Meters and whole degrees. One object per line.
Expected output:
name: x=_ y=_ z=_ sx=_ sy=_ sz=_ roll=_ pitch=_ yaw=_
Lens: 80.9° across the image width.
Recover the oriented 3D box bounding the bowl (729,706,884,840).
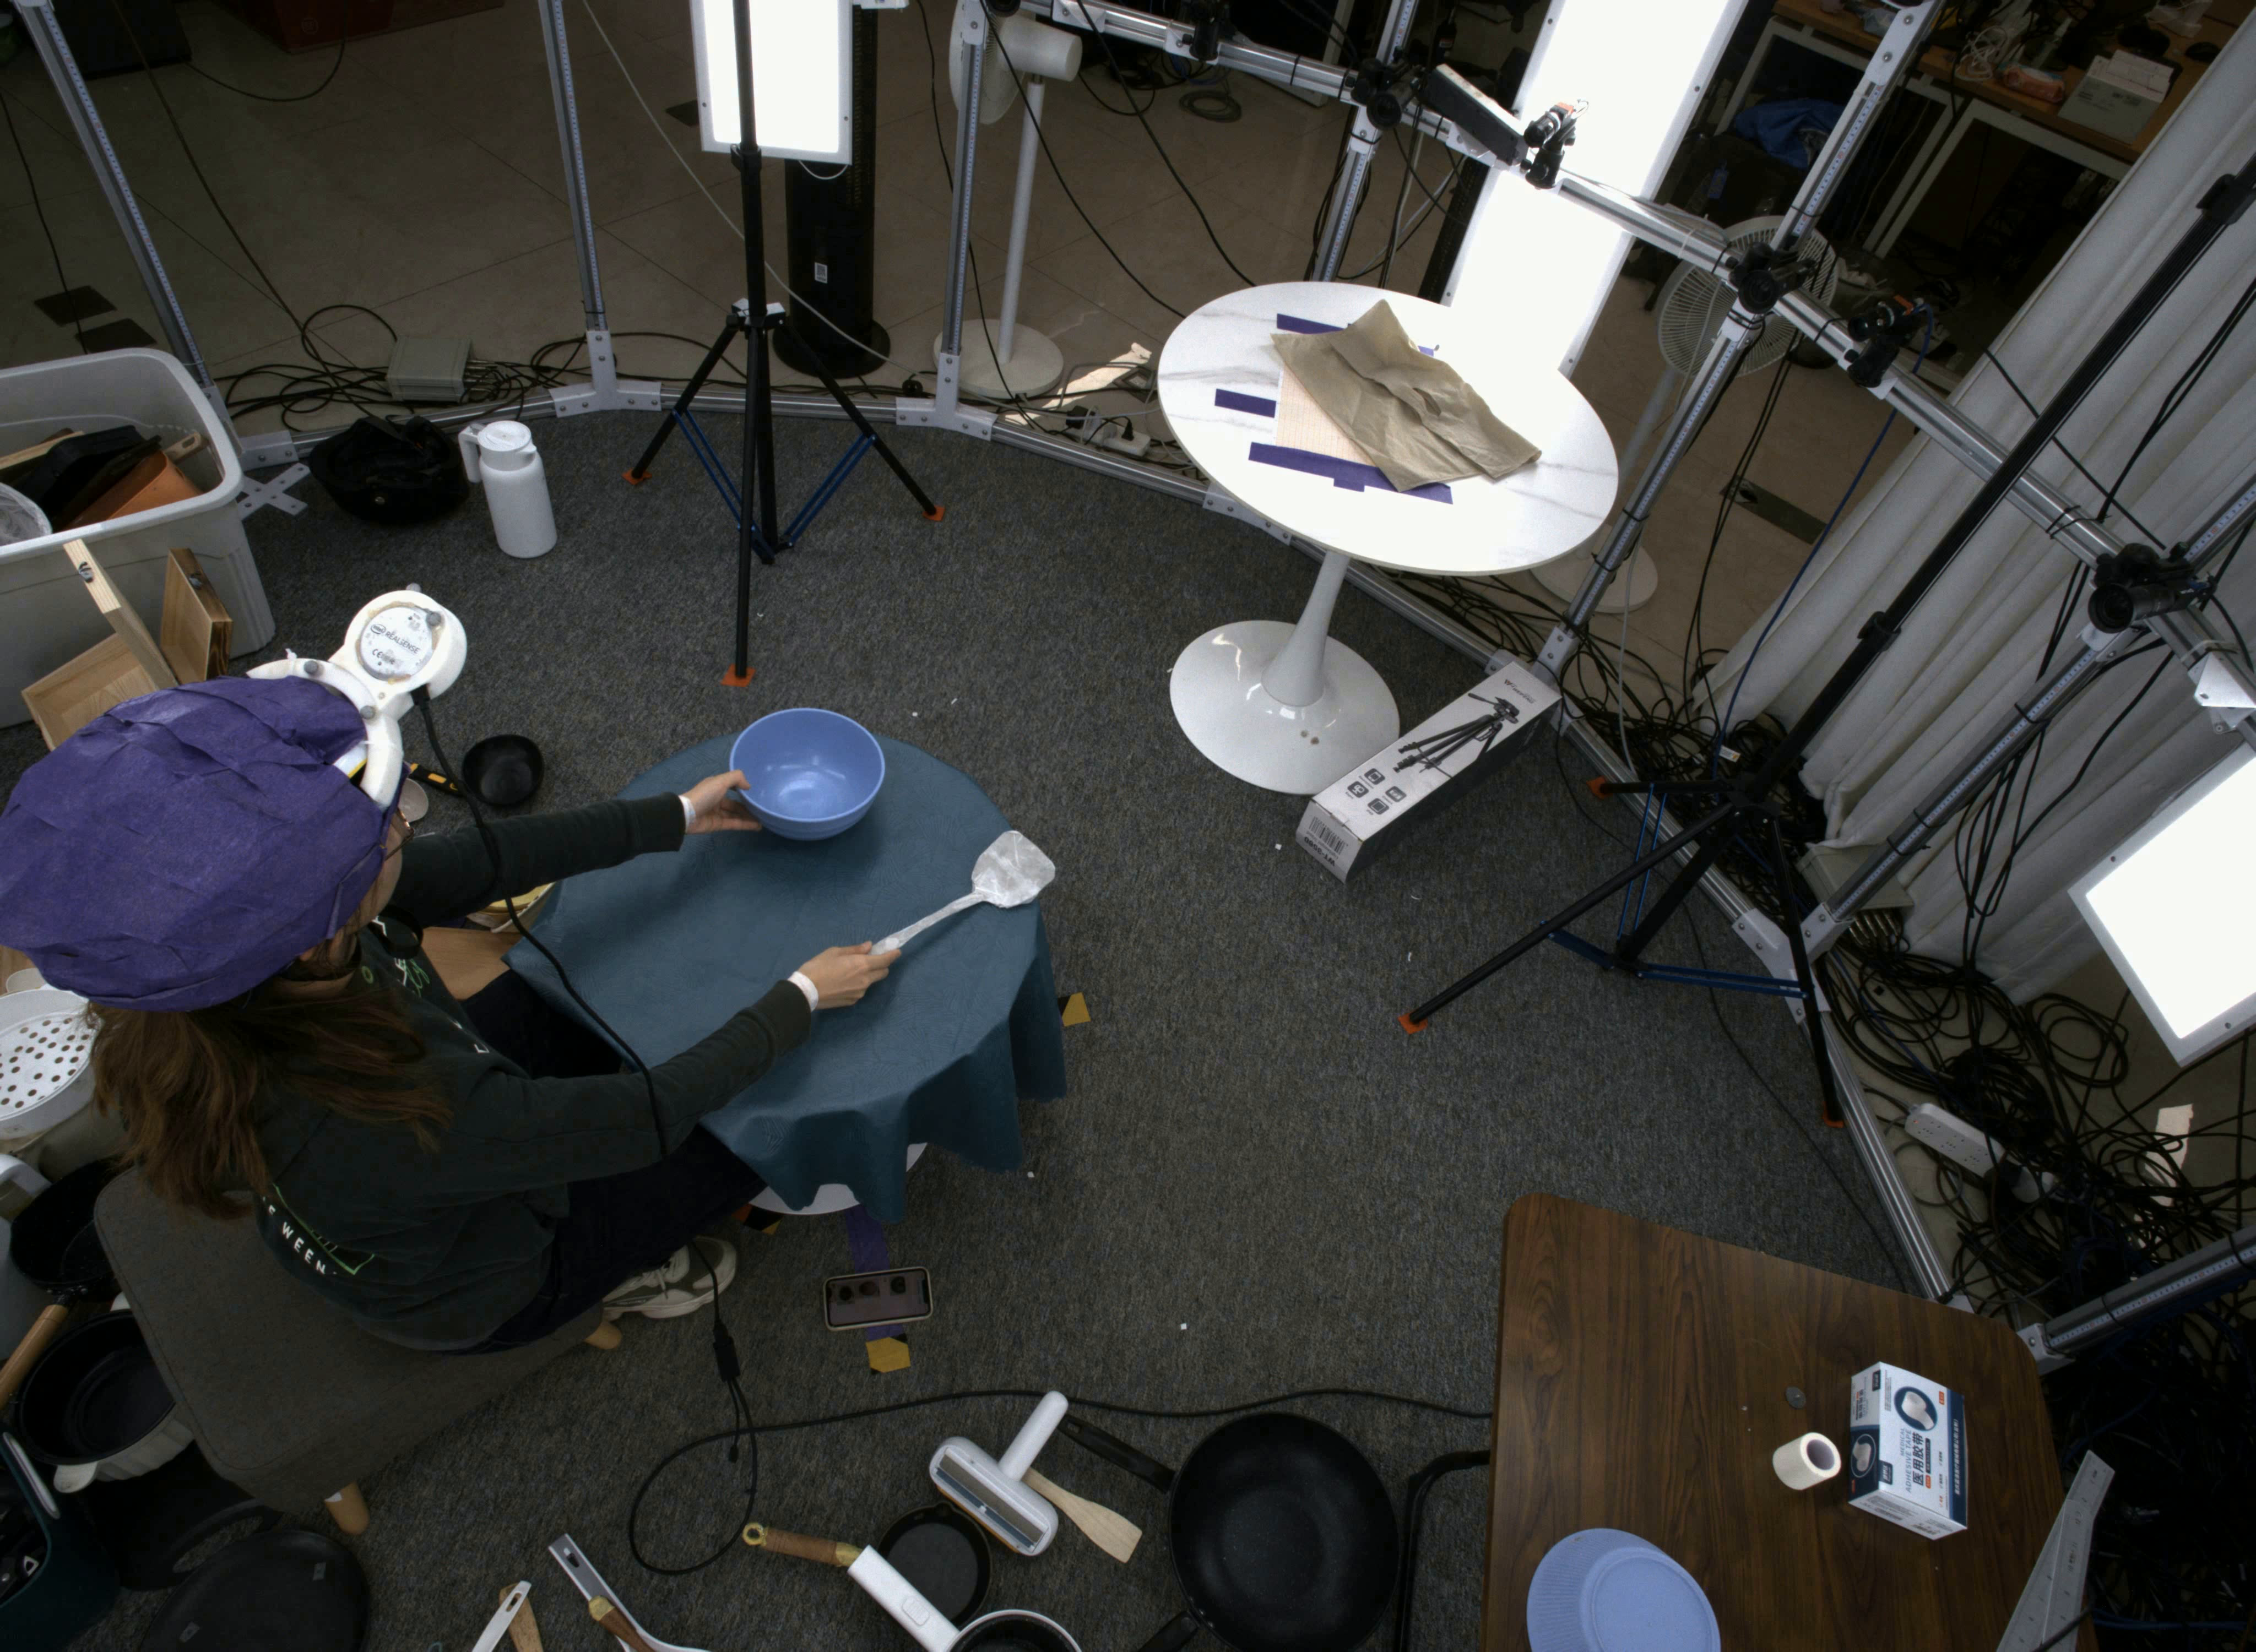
bowl: x=-0.424 y=-0.054 z=1.706 sx=0.196 sy=0.097 sz=0.193 roll=10 pitch=49 yaw=-10

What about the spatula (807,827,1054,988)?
spatula: x=-0.249 y=0.110 z=1.652 sx=0.367 sy=0.045 sz=0.097 roll=-30 pitch=69 yaw=-38
